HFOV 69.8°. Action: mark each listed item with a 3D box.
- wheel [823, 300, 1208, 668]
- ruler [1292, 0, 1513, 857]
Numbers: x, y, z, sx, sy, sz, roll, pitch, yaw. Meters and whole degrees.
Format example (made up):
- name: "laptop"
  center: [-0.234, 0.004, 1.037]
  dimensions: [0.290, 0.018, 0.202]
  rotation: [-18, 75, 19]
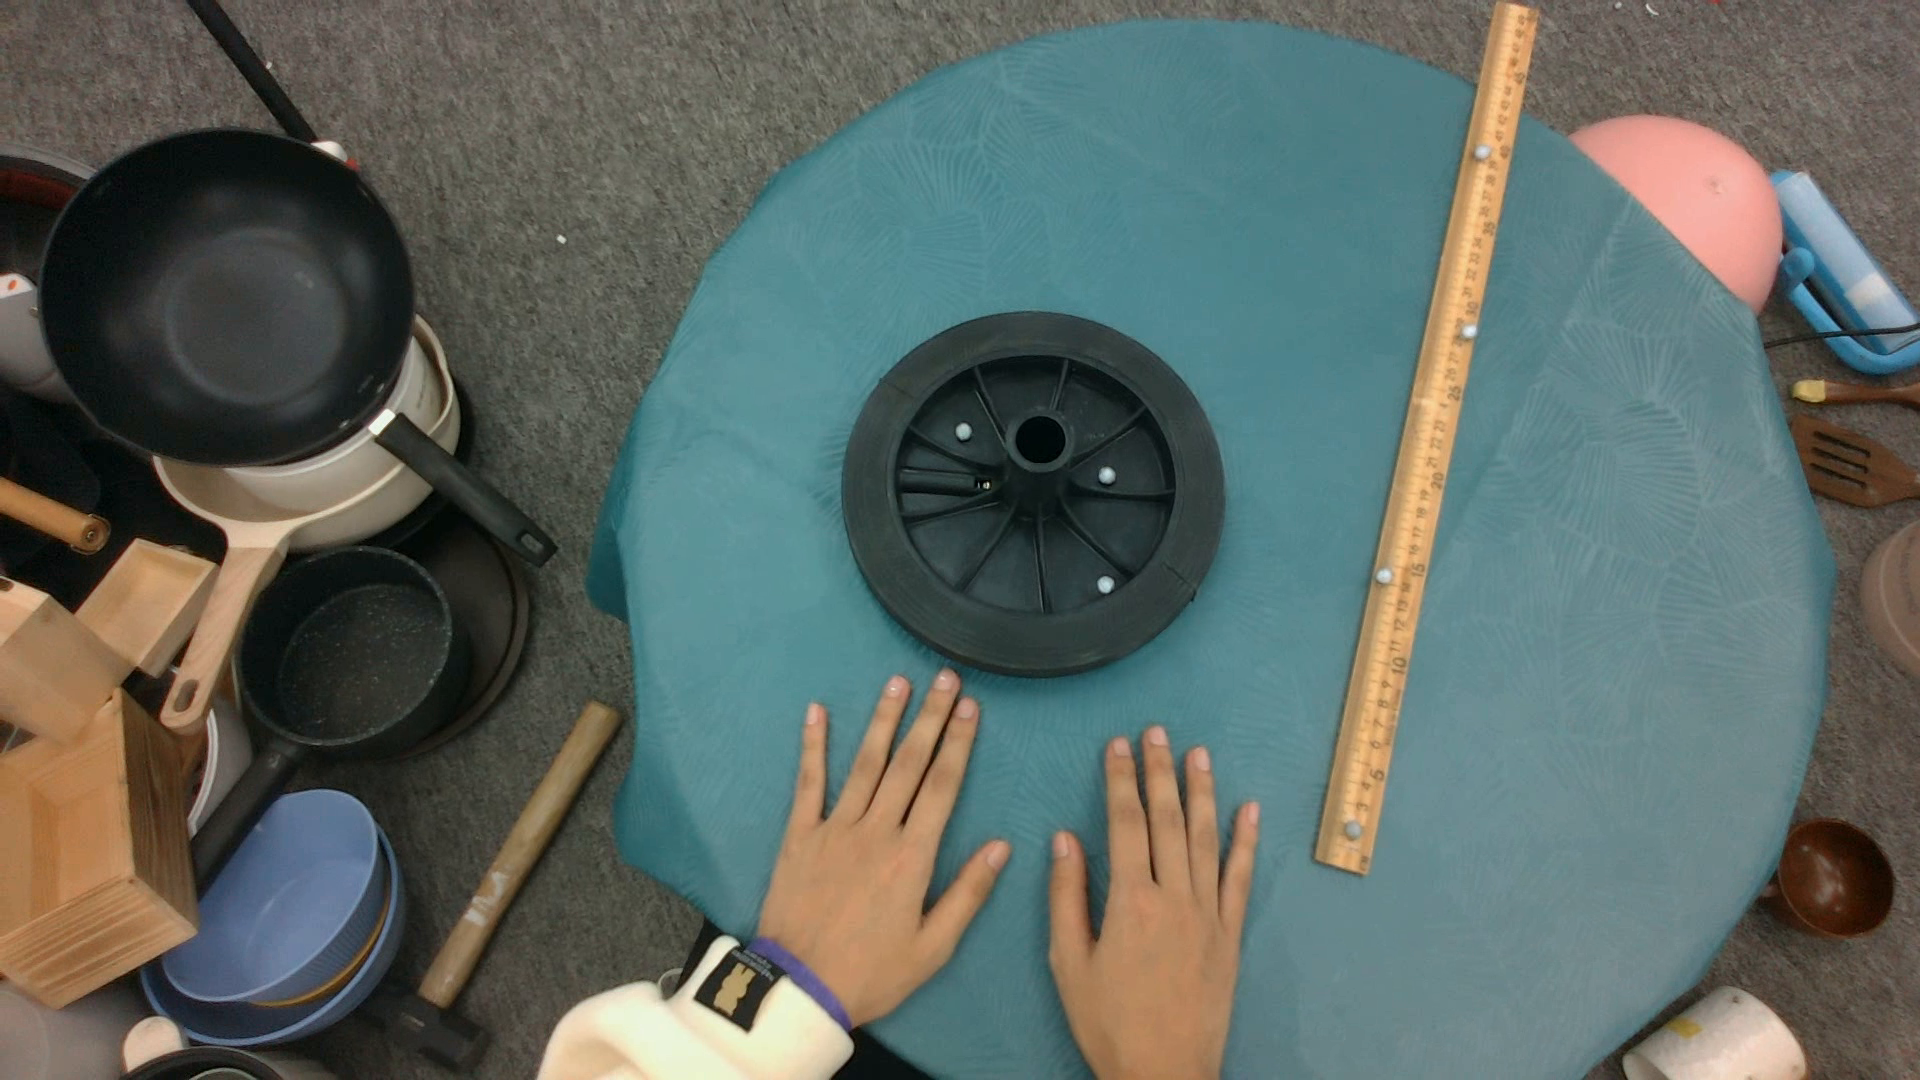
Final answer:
- name: "wheel"
  center: [0.028, -0.037, 0.656]
  dimensions: [0.190, 0.079, 0.188]
  rotation: [-17, 73, -6]
- name: "ruler"
  center: [0.237, -0.083, 0.714]
  dimensions: [0.027, 0.006, 0.502]
  rotation: [17, 72, 2]
